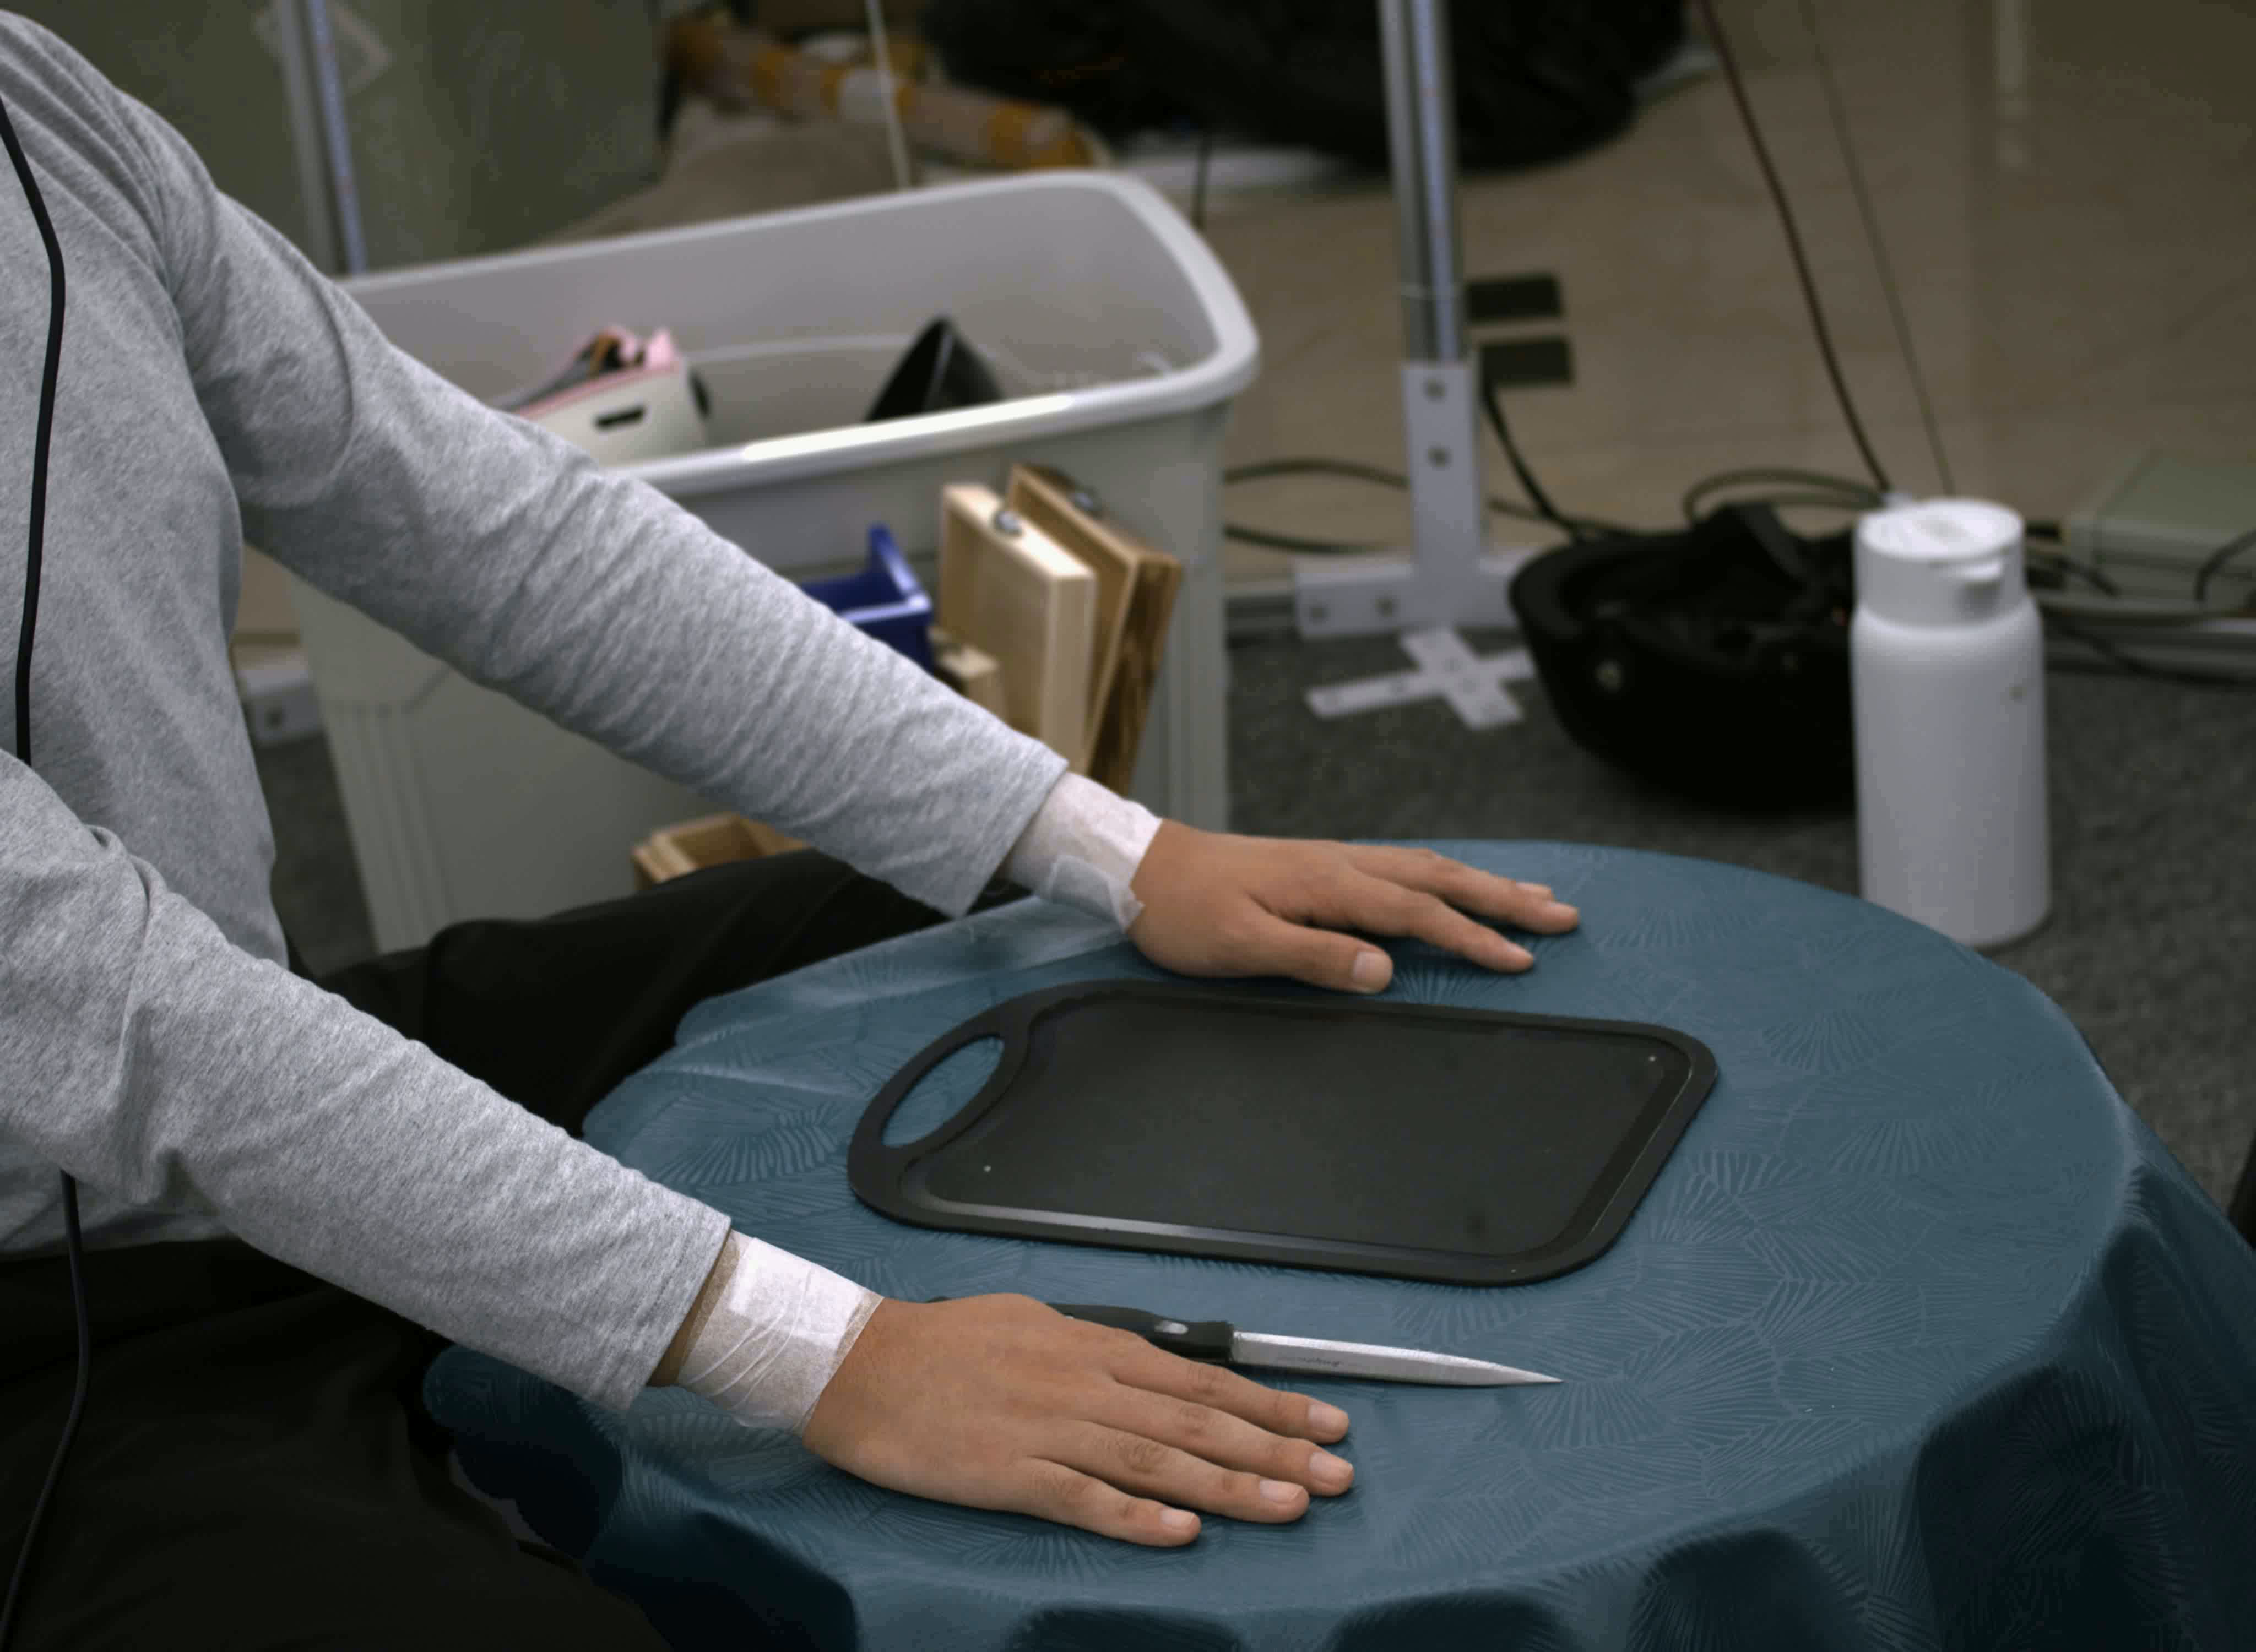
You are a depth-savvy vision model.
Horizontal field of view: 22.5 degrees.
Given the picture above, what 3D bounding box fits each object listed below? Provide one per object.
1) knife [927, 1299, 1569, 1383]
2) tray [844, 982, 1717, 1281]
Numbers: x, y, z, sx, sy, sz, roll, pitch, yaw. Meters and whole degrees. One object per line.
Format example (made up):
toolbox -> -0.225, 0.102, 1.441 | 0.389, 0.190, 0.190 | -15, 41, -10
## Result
knife -> 0.040, 0.187, 2.025 | 0.237, 0.016, 0.024 | 4, 28, 15
tray -> 0.052, 0.113, 2.187 | 0.324, 0.010, 0.208 | 4, 27, 23
